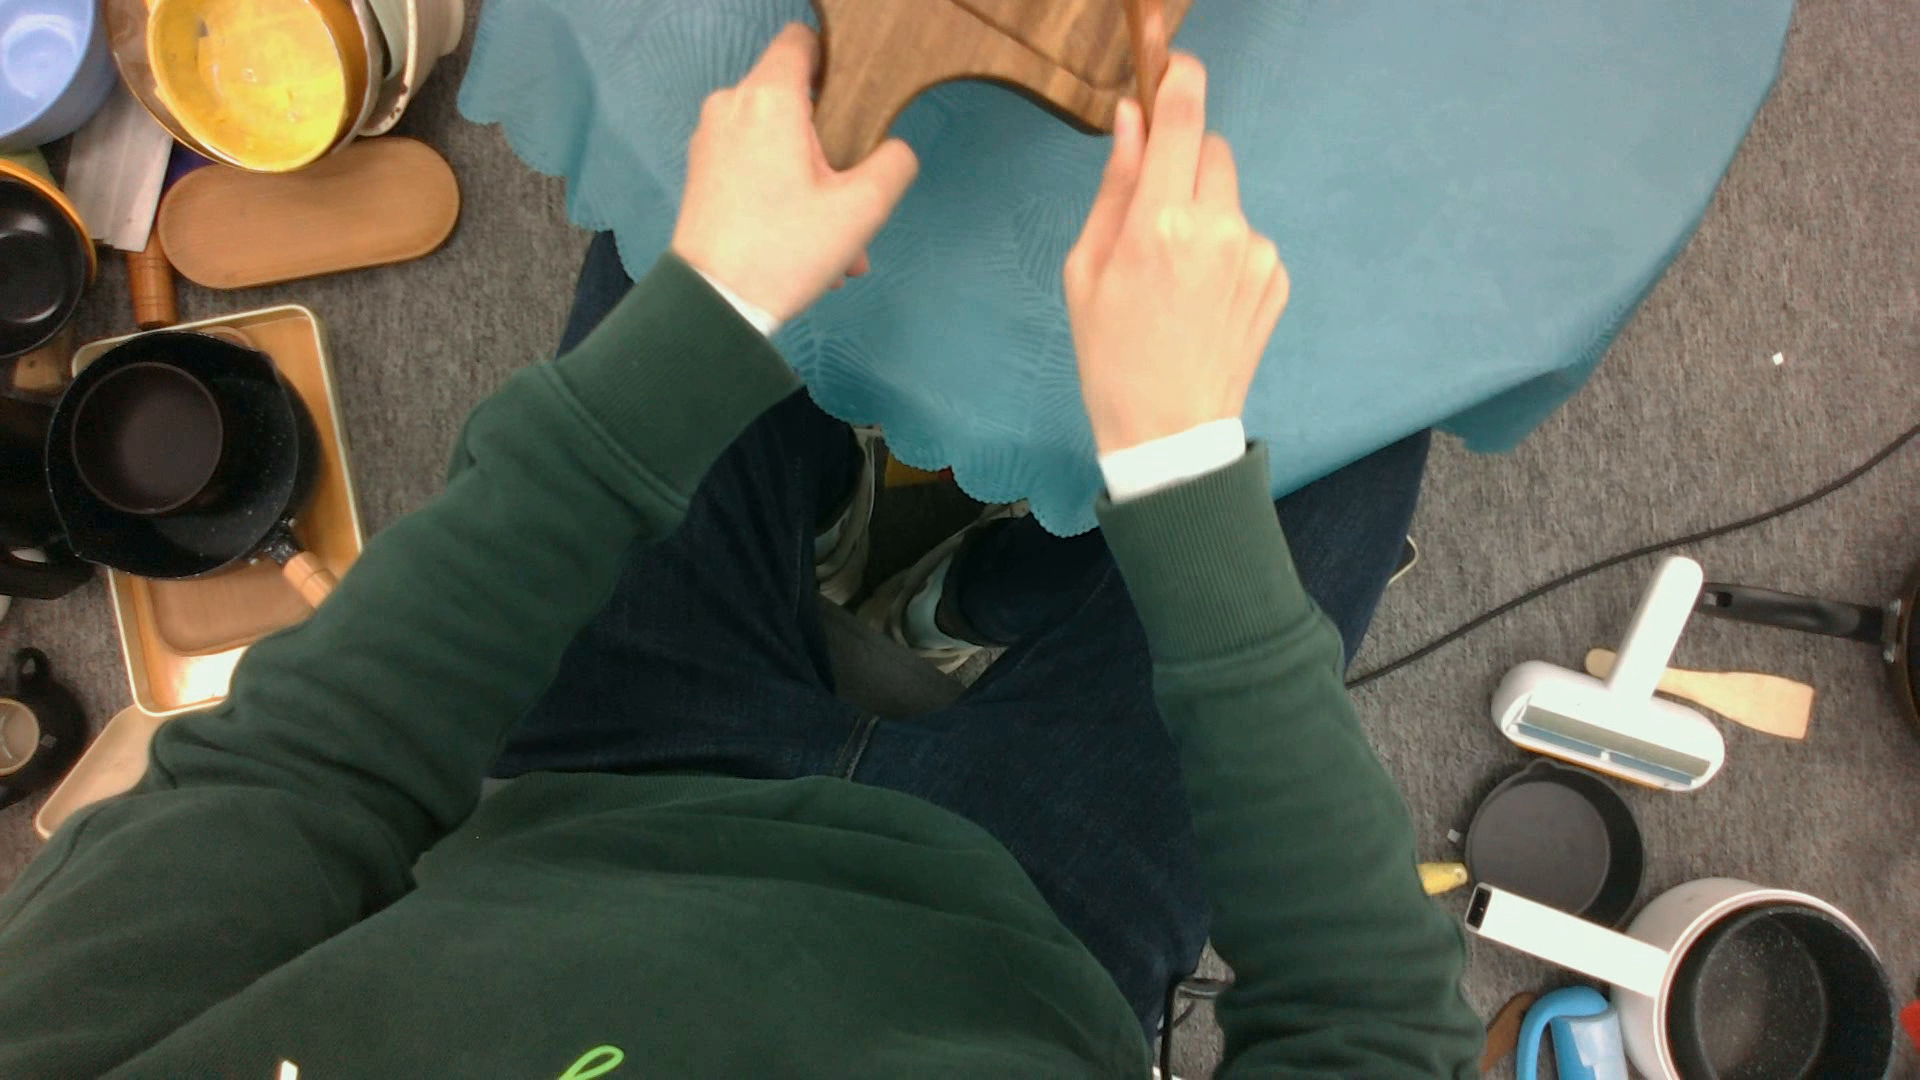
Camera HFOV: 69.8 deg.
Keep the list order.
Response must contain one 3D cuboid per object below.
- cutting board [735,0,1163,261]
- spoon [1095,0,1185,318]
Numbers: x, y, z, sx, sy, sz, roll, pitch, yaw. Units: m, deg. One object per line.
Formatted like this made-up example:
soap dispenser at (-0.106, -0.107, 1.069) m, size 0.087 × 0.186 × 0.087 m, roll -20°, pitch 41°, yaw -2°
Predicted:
cutting board at (0.001, -0.266, 0.501) m, size 0.201 × 0.023 × 0.352 m, roll 23°, pitch 95°, yaw -23°
spoon at (0.057, -0.185, 0.481) m, size 0.017 × 0.075 × 0.215 m, roll -10°, pitch 96°, yaw -18°
